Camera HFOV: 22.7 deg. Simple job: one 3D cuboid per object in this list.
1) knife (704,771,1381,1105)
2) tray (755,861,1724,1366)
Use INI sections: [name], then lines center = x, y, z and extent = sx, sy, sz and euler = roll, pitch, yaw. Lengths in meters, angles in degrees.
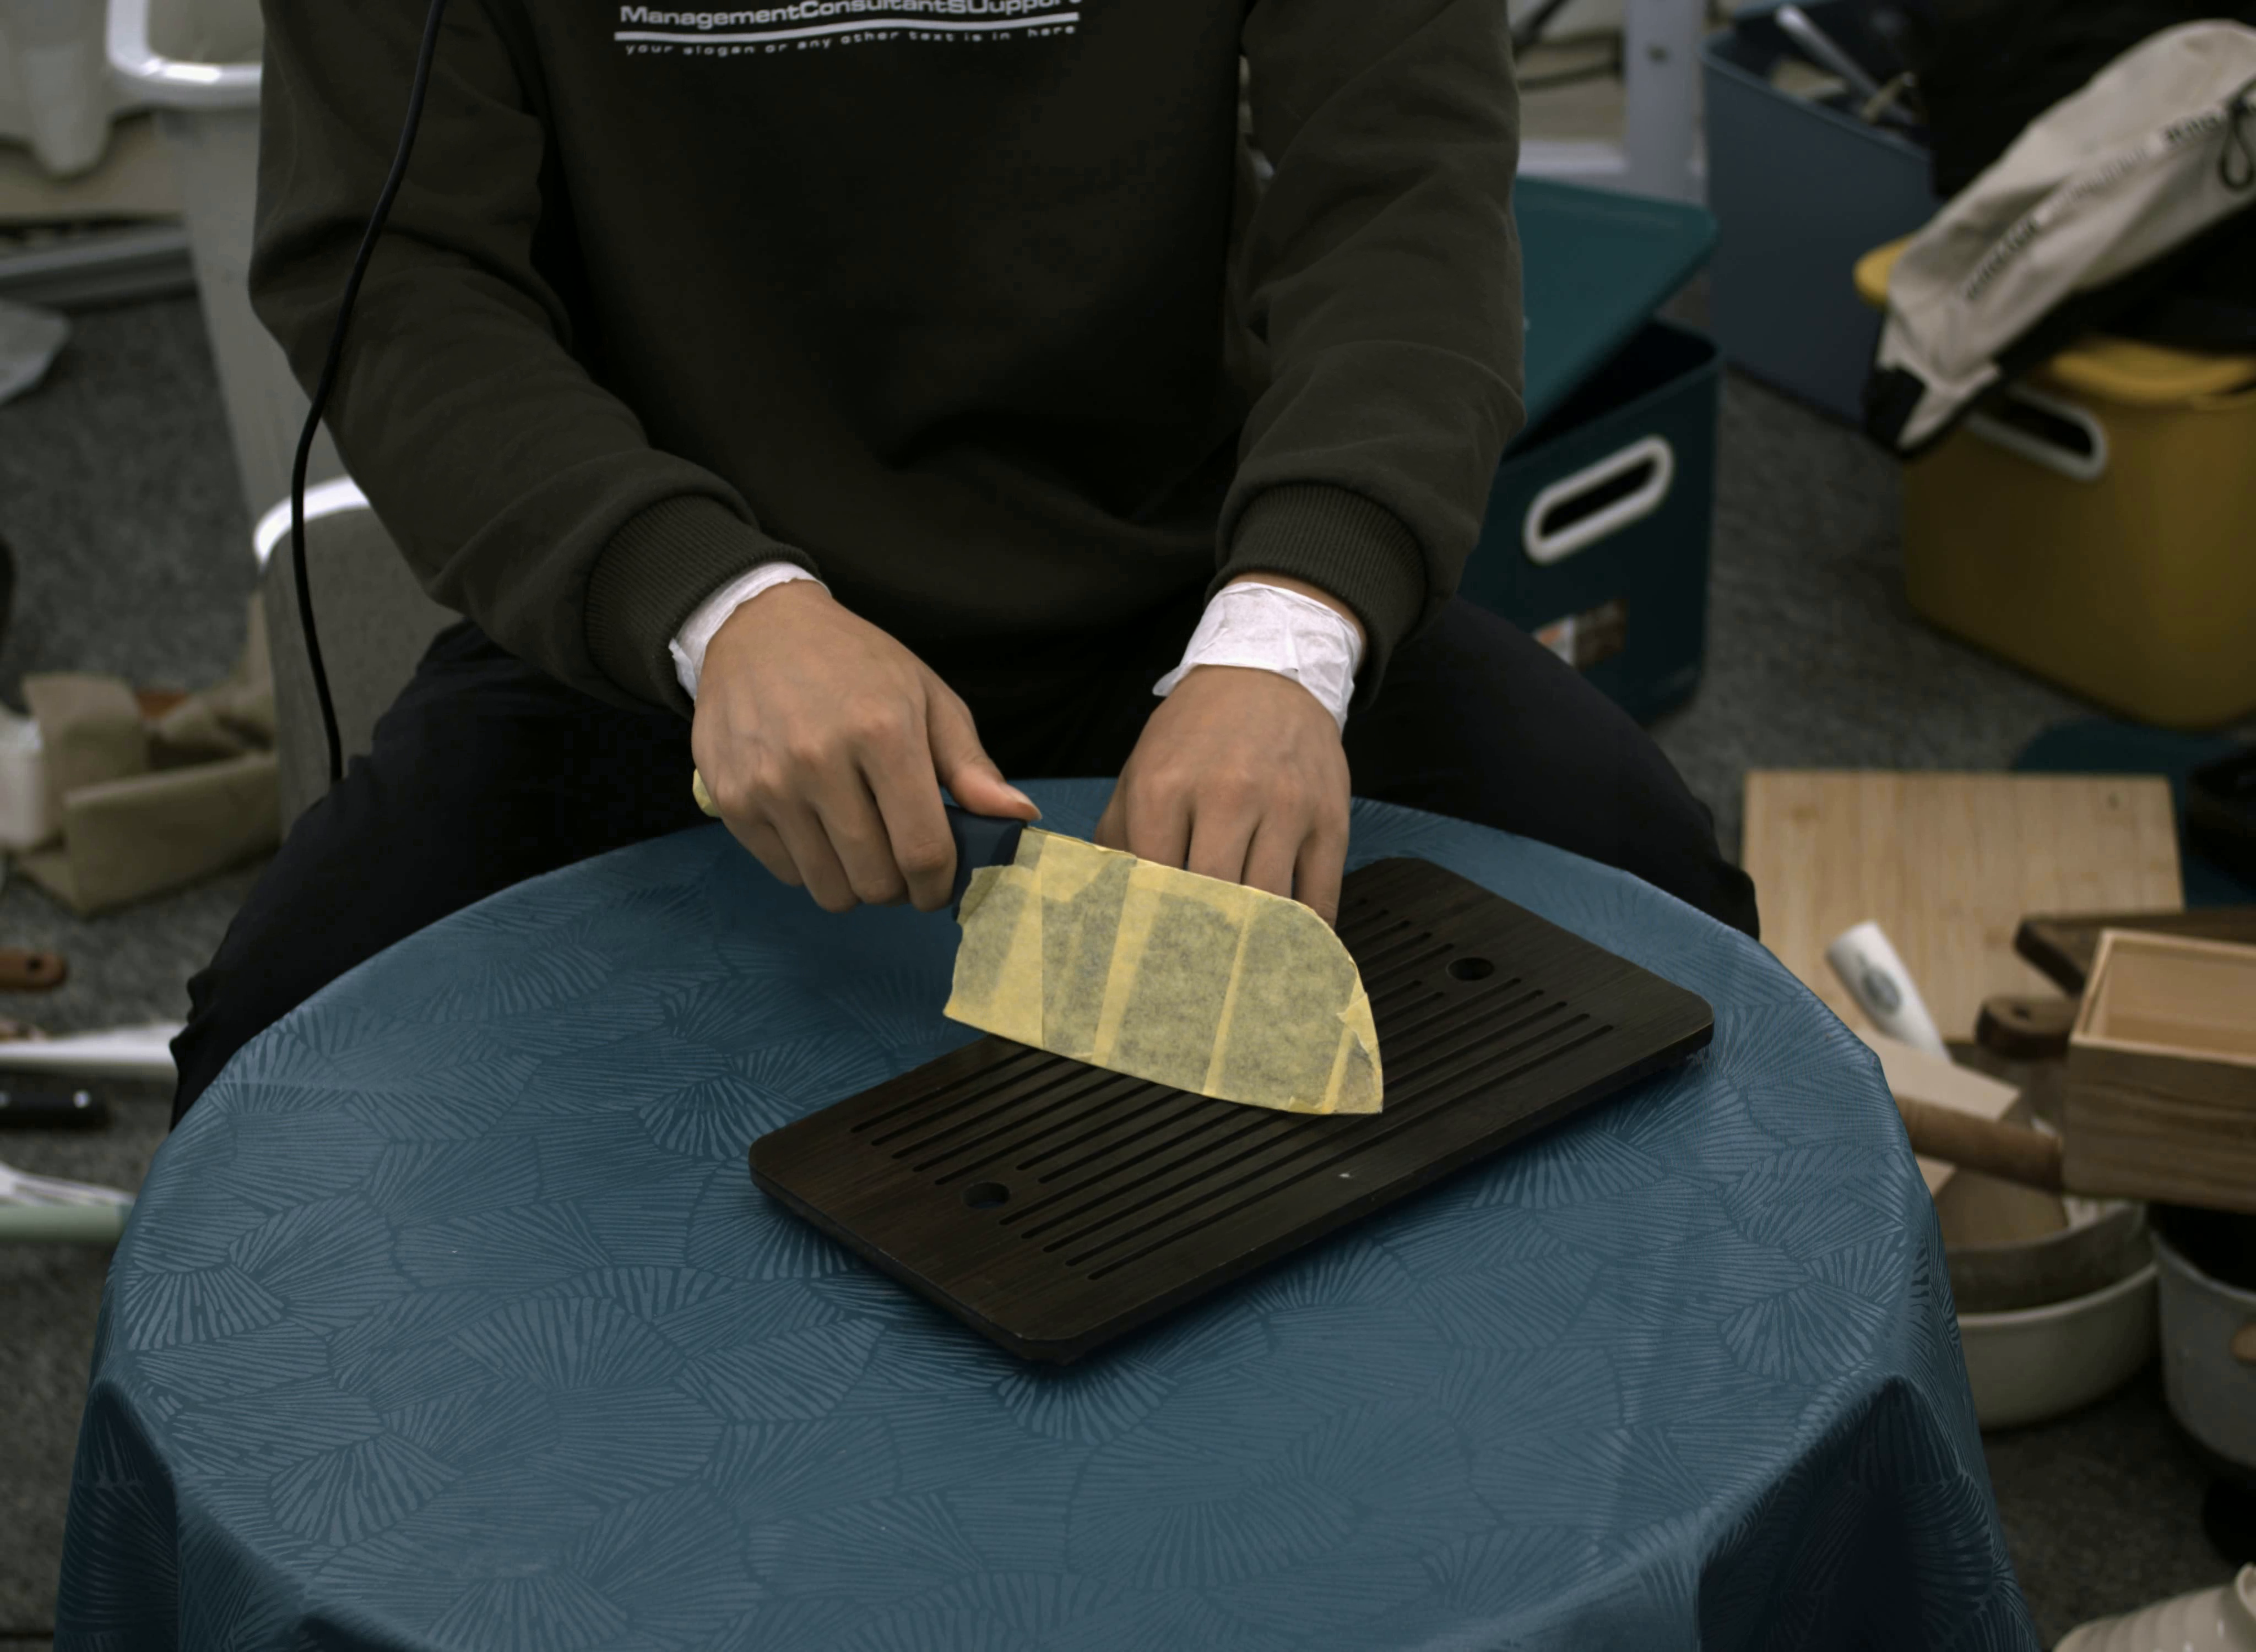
[knife]
center = -0.033, 0.036, 1.925
extent = 0.288, 0.081, 0.027
euler = 18, 0, 31
[tray]
center = 0.040, 0.094, 1.891
extent = 0.309, 0.018, 0.170
euler = -23, 33, -34
